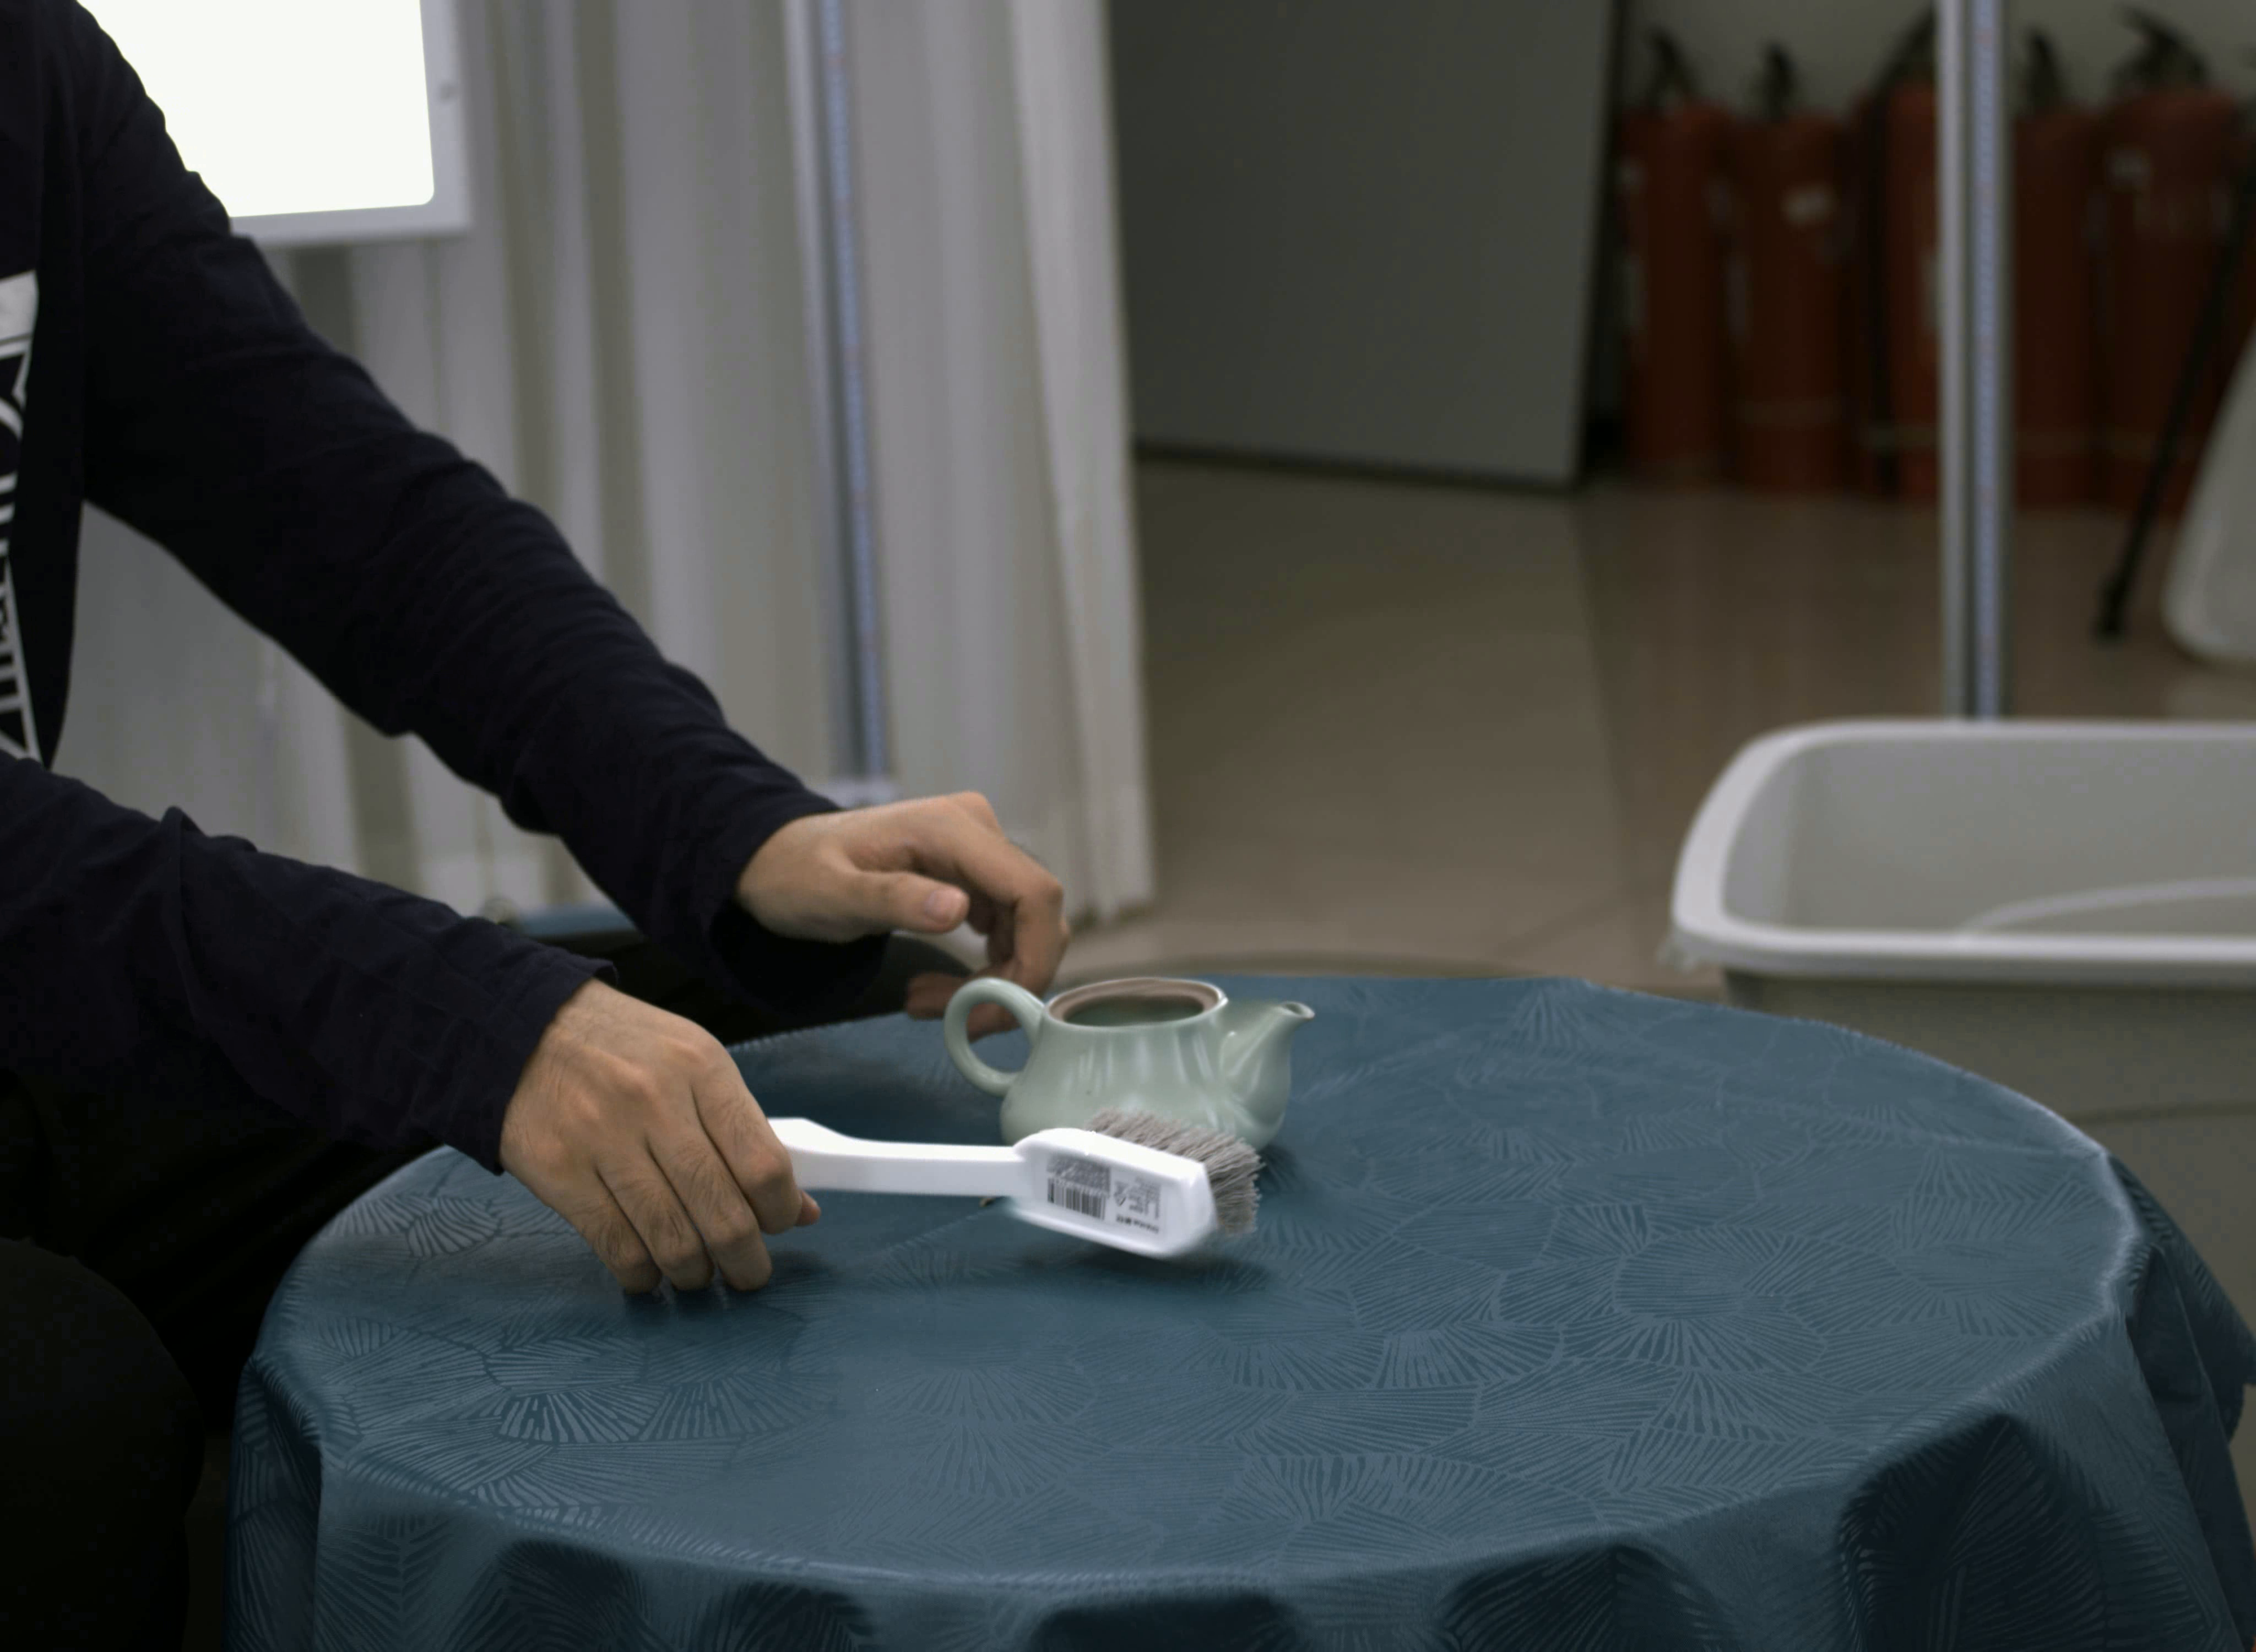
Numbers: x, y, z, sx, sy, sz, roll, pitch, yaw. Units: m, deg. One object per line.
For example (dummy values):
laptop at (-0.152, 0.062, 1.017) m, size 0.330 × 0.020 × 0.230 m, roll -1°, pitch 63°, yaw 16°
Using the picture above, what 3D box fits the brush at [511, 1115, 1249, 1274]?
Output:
brush at (-0.078, 0.111, 1.718) m, size 0.243 × 0.034 × 0.050 m, roll 2°, pitch 25°, yaw 20°

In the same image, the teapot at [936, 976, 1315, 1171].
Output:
teapot at (0.000, 0.085, 1.797) m, size 0.137 × 0.062 × 0.095 m, roll 2°, pitch 18°, yaw 23°
